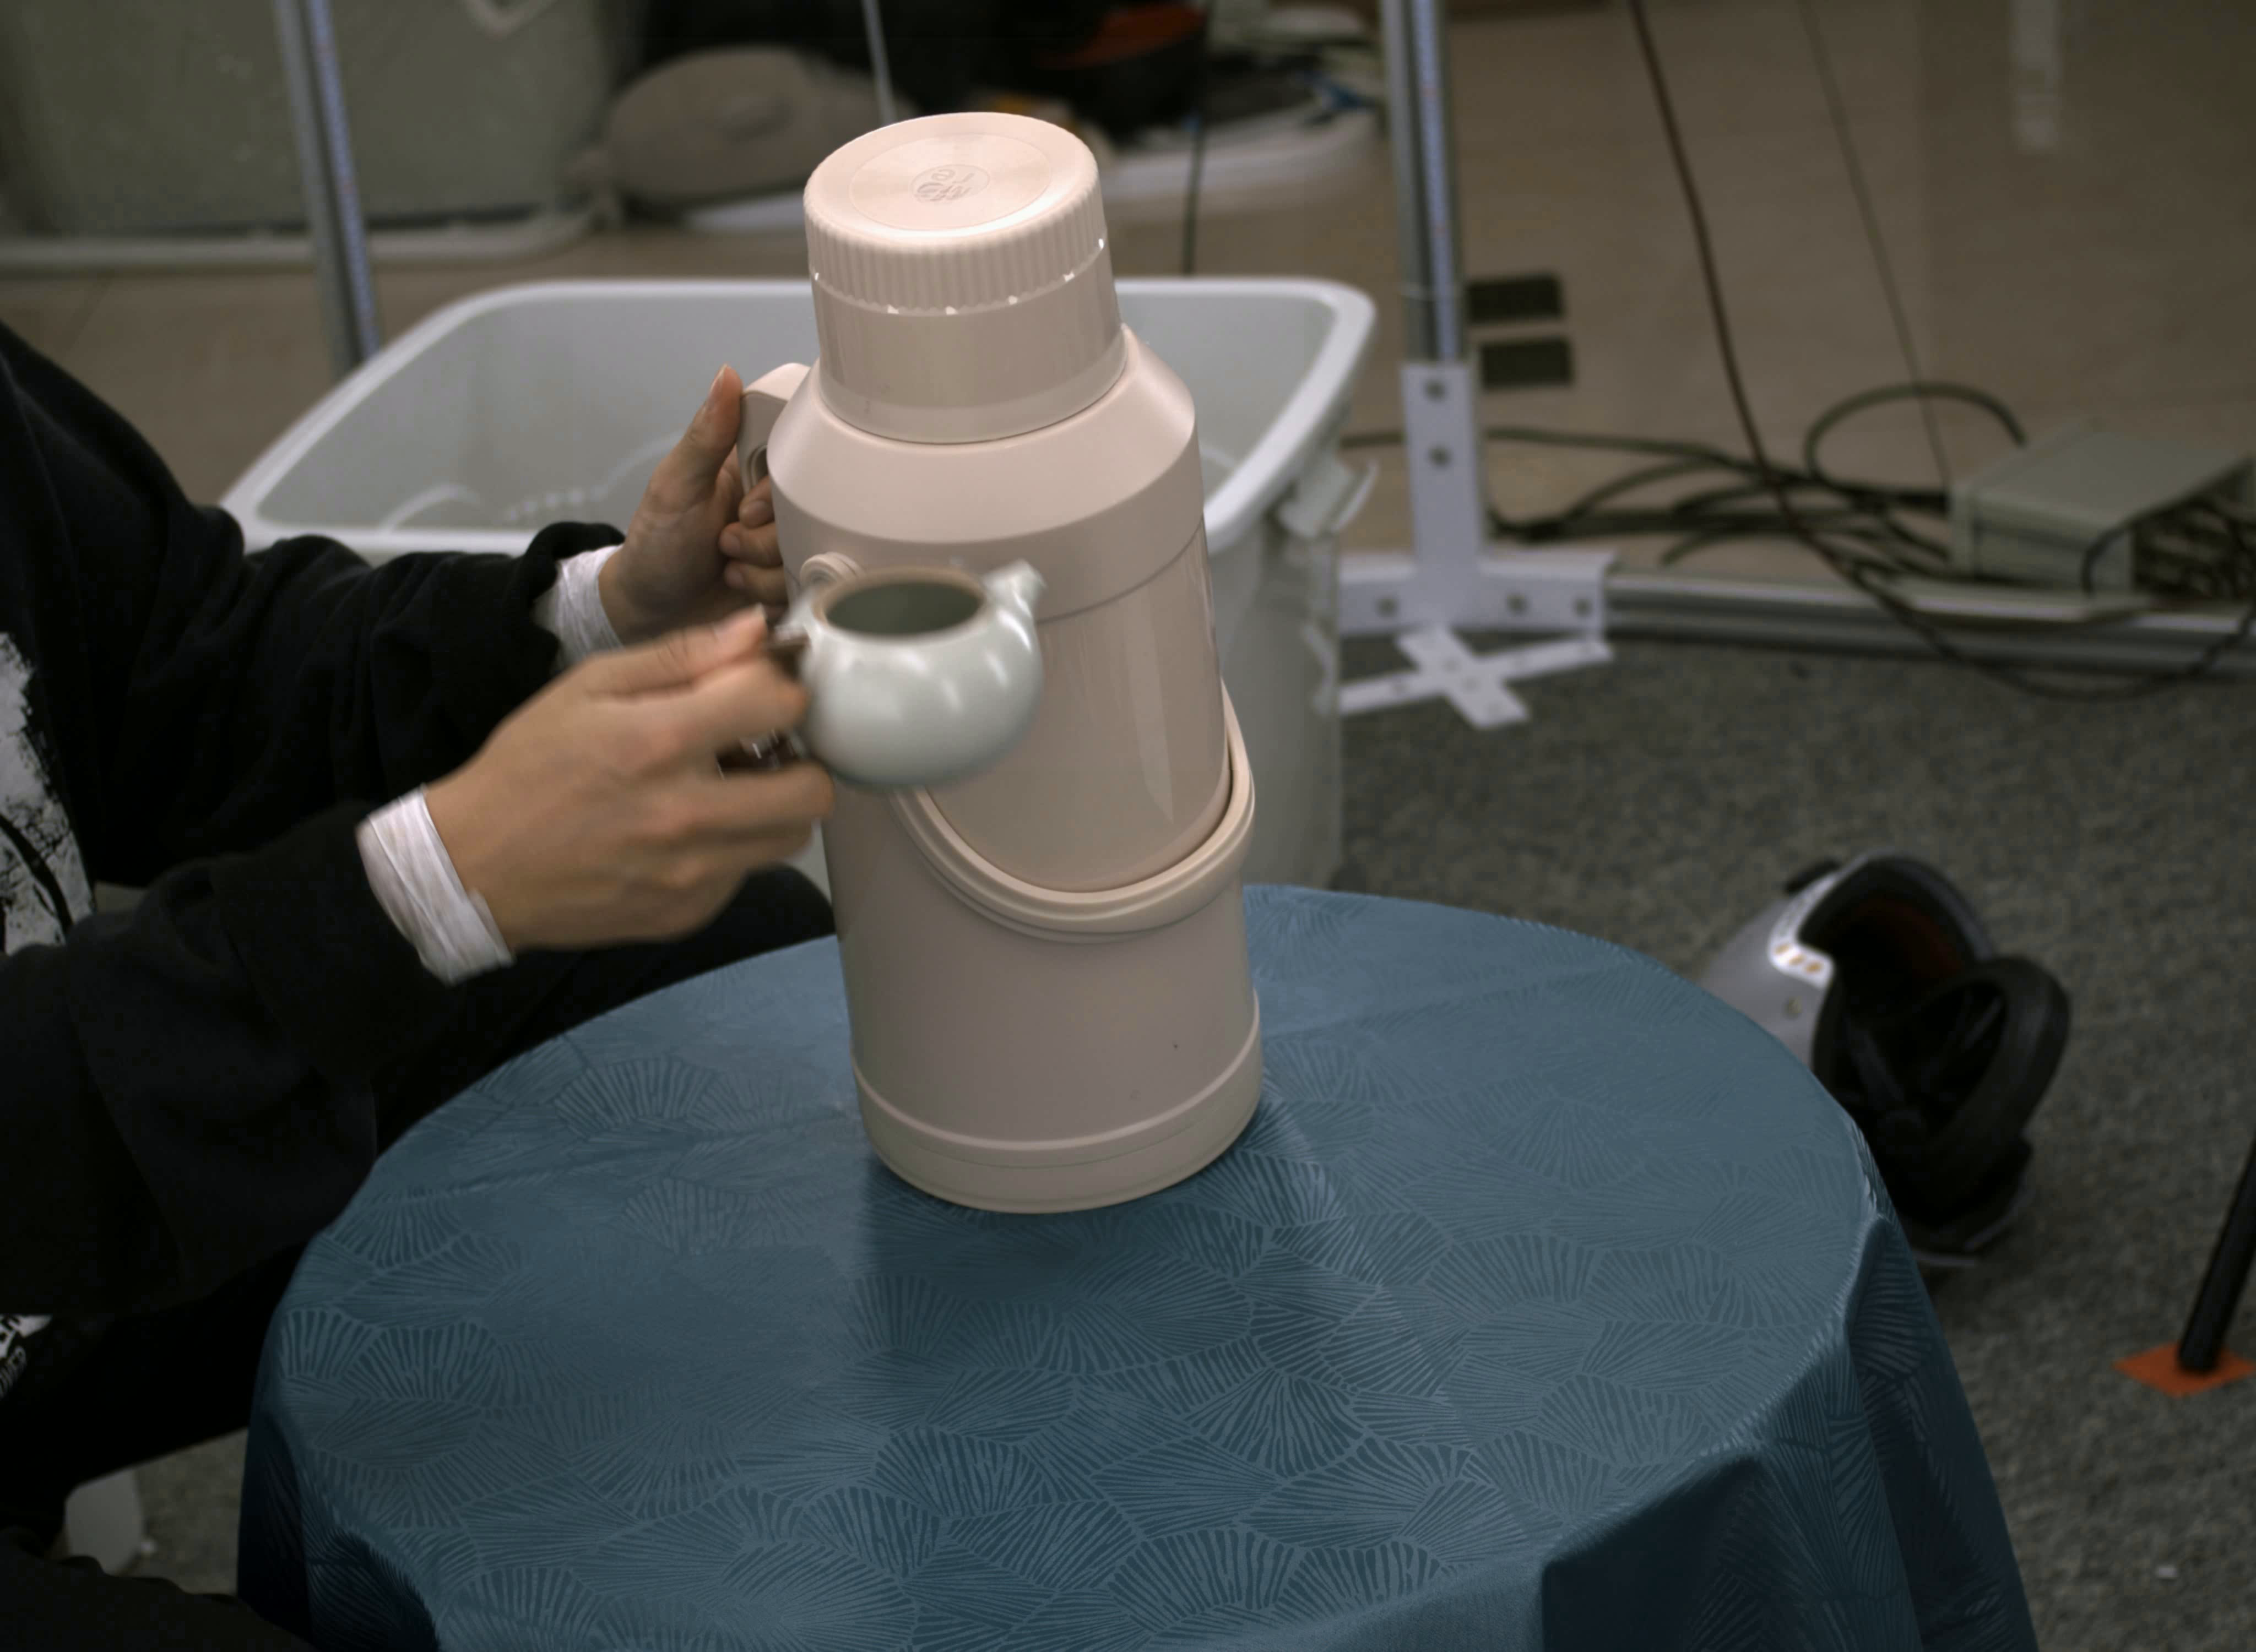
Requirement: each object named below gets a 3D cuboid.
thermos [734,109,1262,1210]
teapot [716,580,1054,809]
[{"bbox_3d":[-0.054,-0.066,2.100,0.205,0.414,0.173,21,44,33],"label":"thermos"},{"bbox_3d":[-0.080,-0.041,1.881,0.127,0.060,0.090,-16,35,-29],"label":"teapot"}]
